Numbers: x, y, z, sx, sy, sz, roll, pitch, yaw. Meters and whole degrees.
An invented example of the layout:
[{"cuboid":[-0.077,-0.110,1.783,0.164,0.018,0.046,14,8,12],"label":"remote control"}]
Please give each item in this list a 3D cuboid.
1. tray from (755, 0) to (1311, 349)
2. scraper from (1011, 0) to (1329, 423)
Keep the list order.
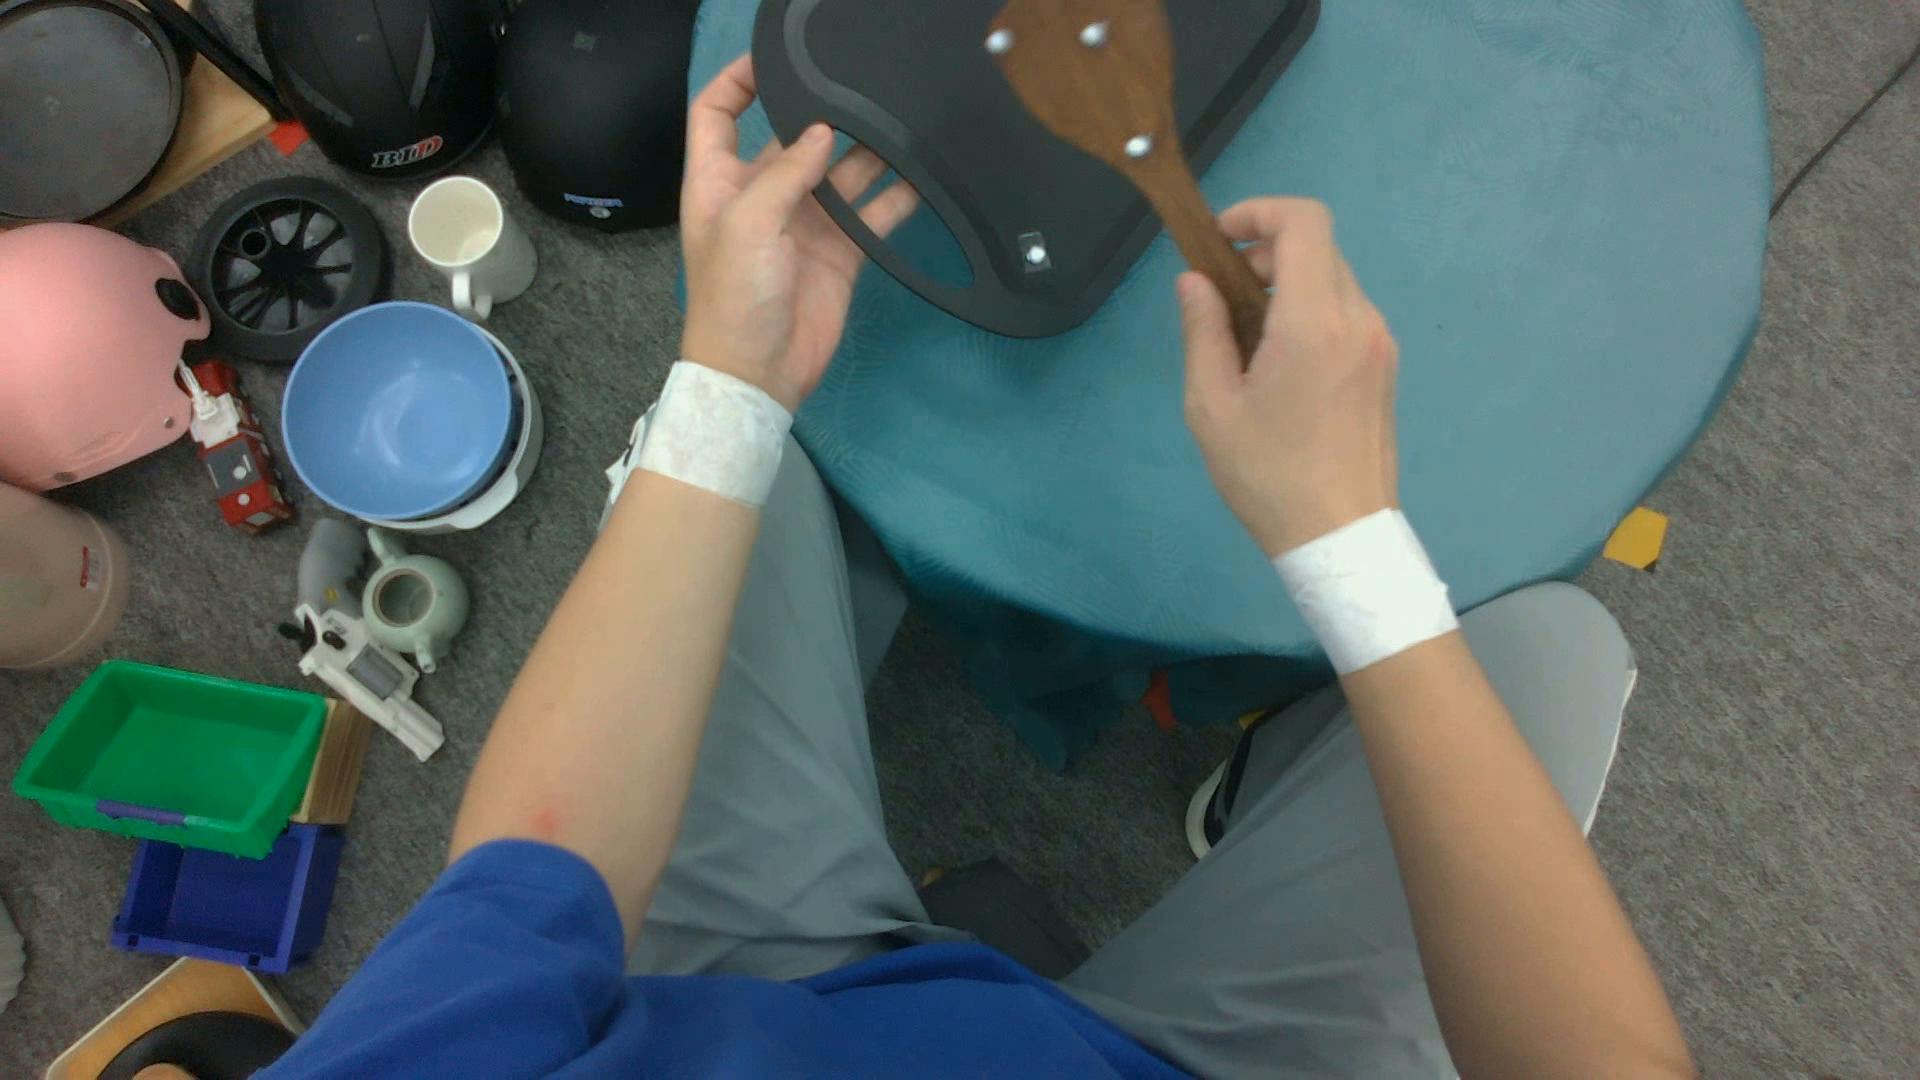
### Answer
[{"cuboid":[0.047,-0.249,0.691,0.211,0.010,0.326,43,68,-13],"label":"tray"},{"cuboid":[0.098,-0.146,0.591,0.075,0.011,0.211,-29,90,32],"label":"scraper"}]
